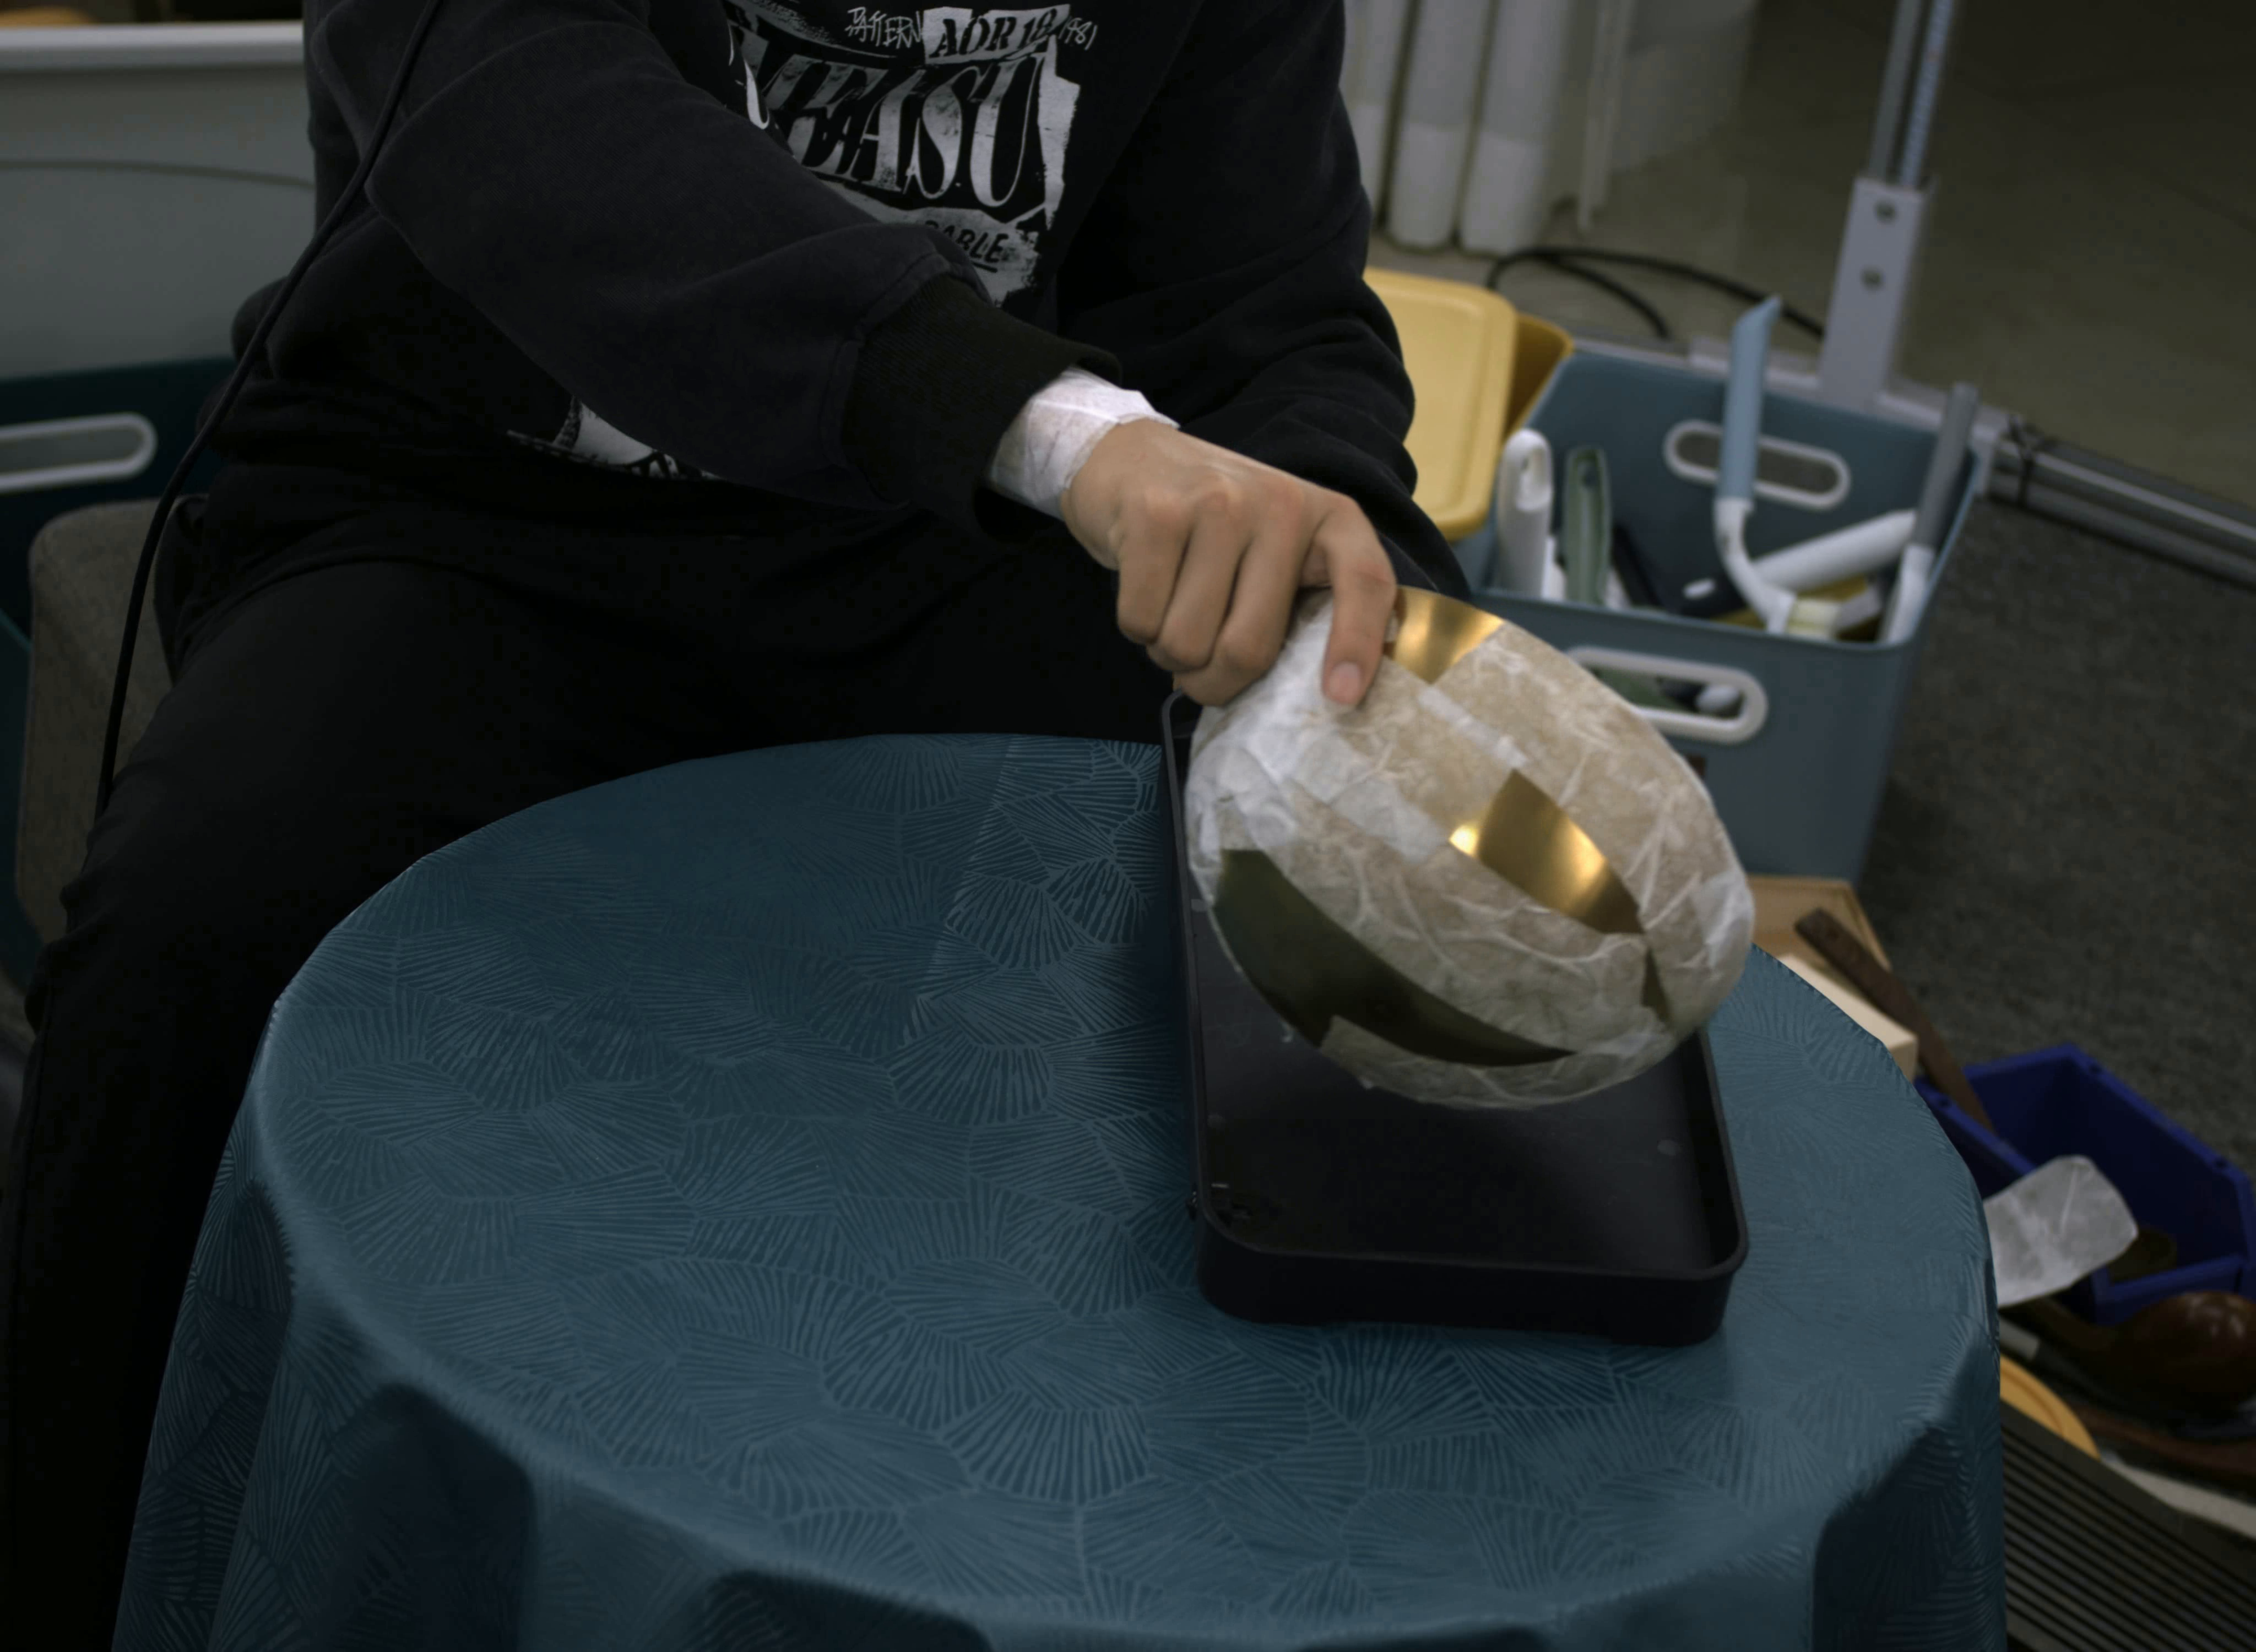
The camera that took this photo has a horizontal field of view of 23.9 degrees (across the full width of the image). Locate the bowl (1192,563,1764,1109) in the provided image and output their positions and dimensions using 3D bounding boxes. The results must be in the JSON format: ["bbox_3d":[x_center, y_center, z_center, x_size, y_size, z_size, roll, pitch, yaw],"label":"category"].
[{"bbox_3d":[0.097,0.024,1.745,0.216,0.213,0.095,22,56,27],"label":"bowl"}]

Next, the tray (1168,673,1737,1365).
[{"bbox_3d":[0.106,0.061,1.856,0.183,0.037,0.320,5,38,-4],"label":"tray"}]
